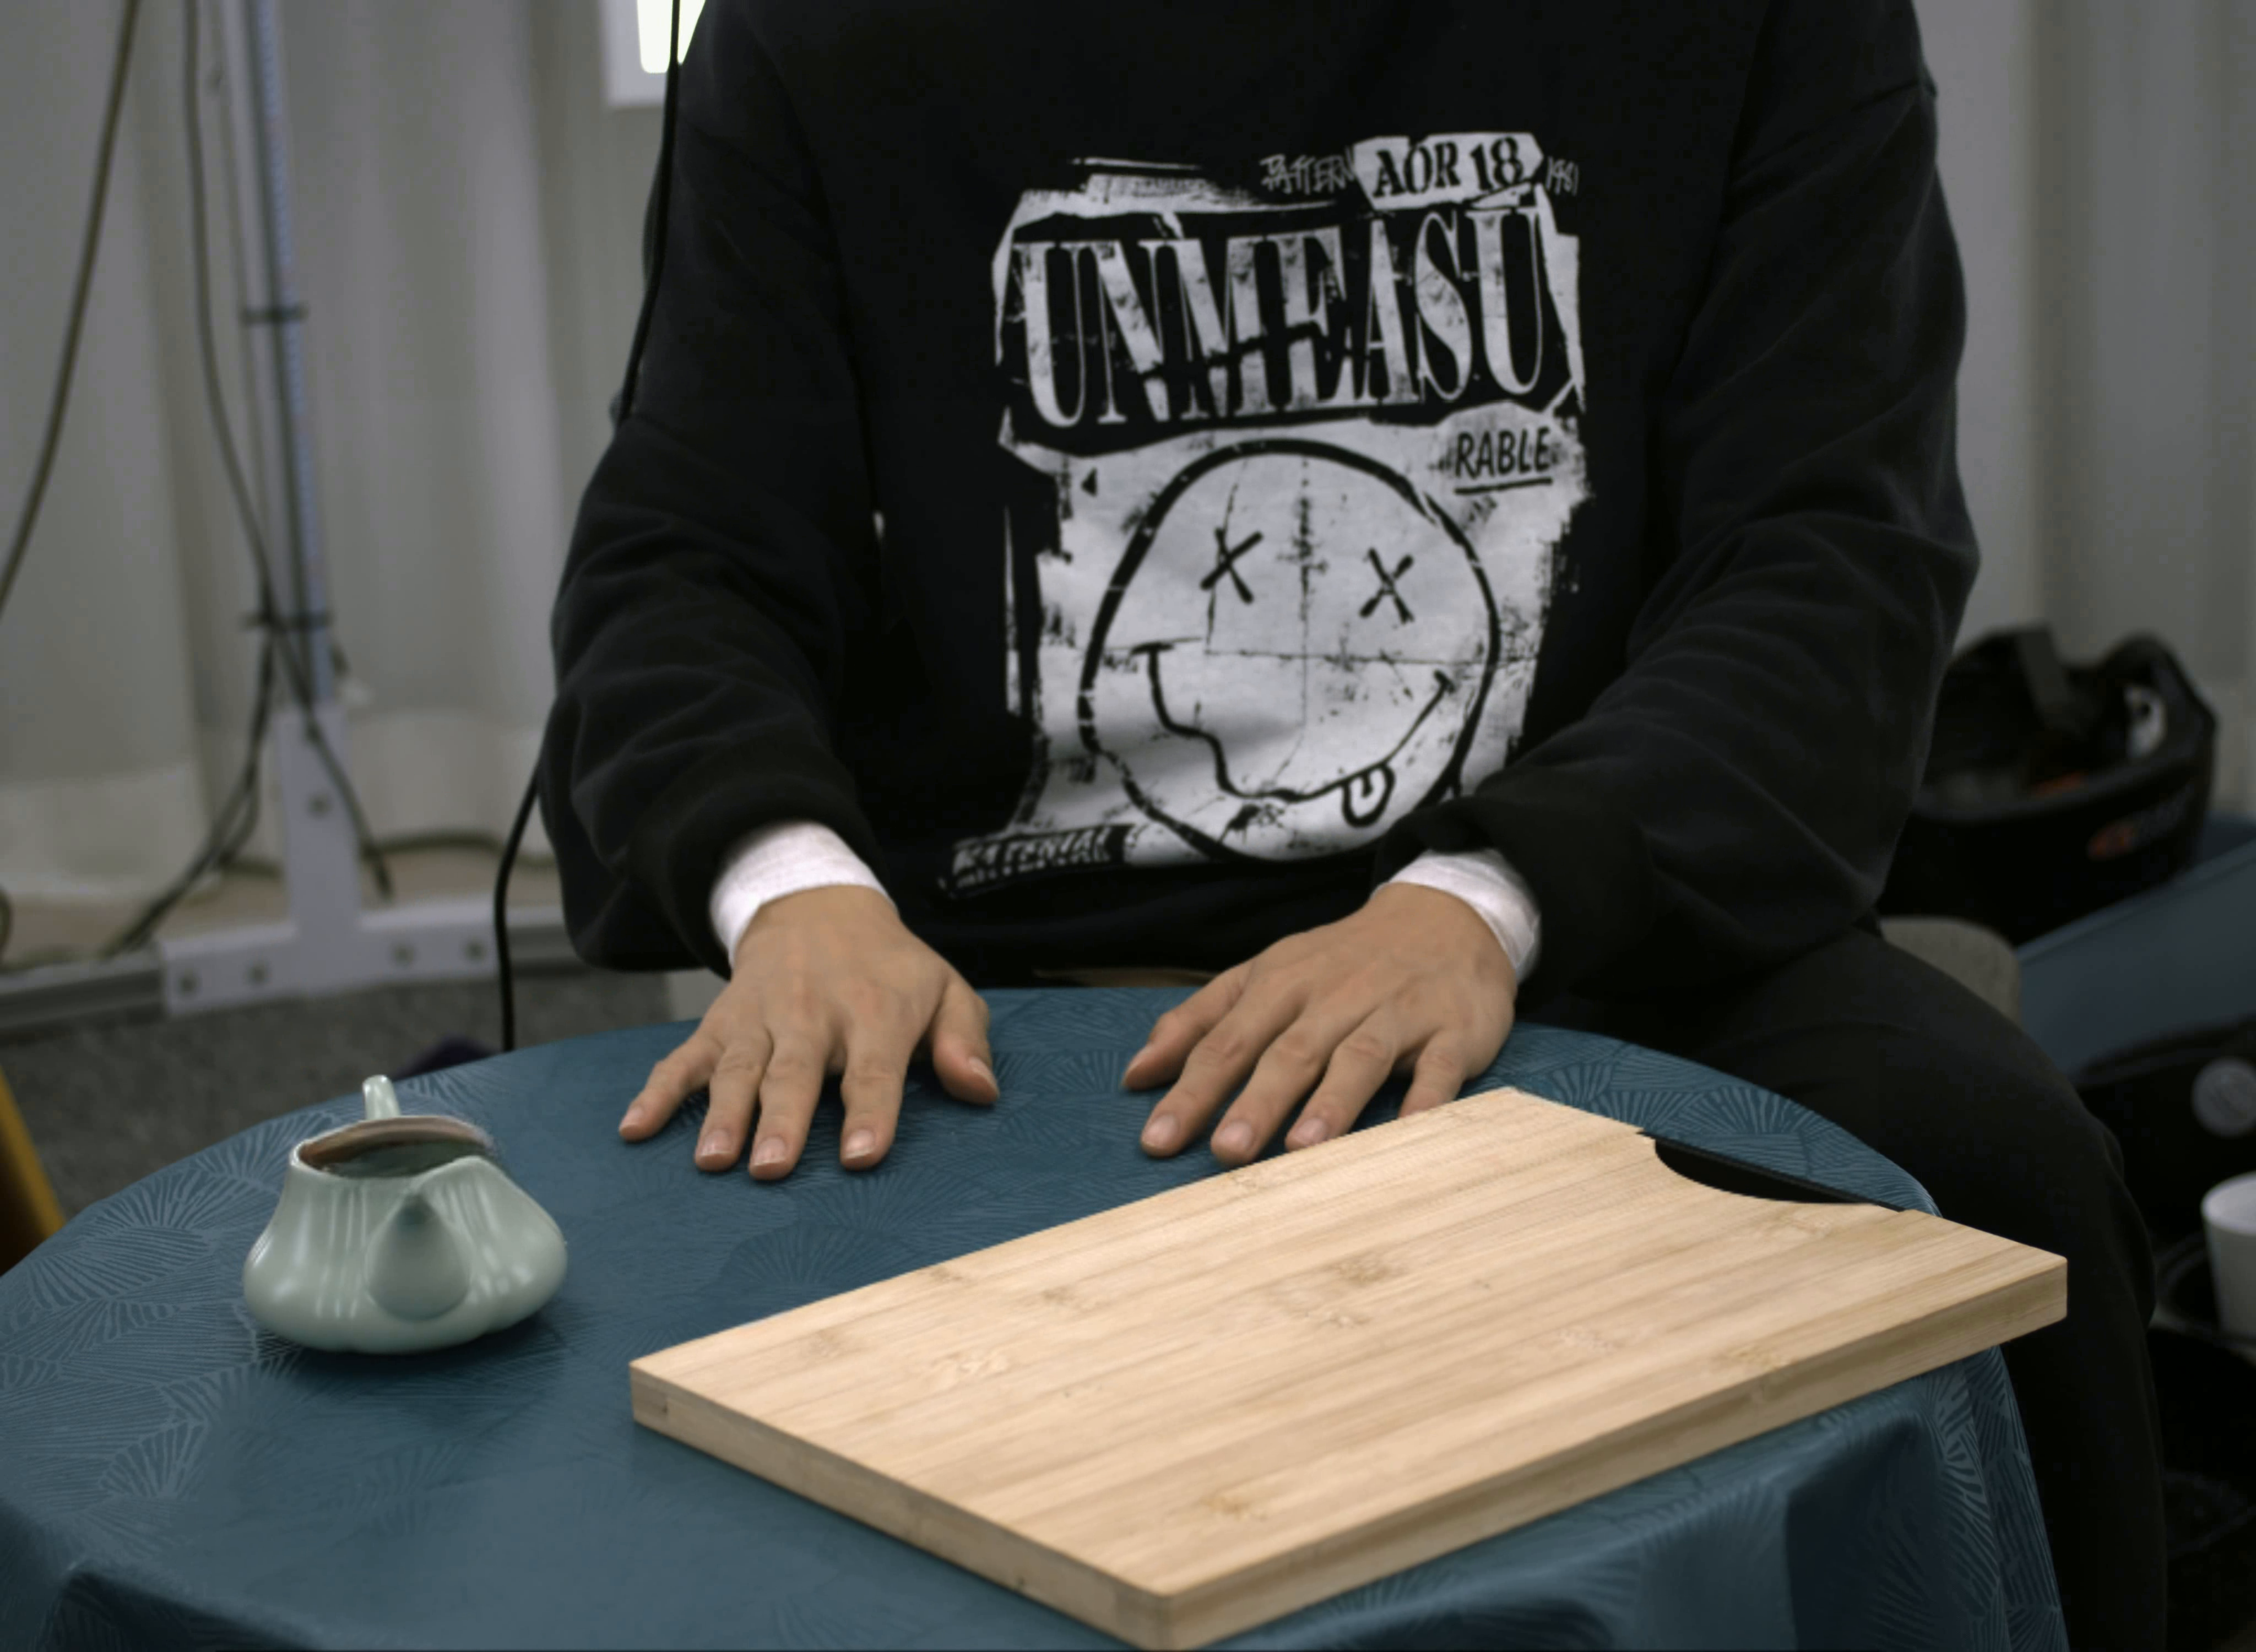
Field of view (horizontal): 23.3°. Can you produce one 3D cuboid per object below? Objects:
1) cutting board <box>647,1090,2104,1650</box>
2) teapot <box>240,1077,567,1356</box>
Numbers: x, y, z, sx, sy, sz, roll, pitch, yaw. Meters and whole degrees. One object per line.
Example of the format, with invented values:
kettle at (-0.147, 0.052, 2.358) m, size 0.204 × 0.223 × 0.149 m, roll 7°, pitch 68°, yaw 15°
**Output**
cutting board at (0.069, 0.146, 1.552) m, size 0.347 × 0.023 × 0.252 m, roll -15°, pitch 19°, yaw -38°
teapot at (-0.216, 0.119, 1.623) m, size 0.096 × 0.061 × 0.138 m, roll -8°, pitch 16°, yaw -14°
